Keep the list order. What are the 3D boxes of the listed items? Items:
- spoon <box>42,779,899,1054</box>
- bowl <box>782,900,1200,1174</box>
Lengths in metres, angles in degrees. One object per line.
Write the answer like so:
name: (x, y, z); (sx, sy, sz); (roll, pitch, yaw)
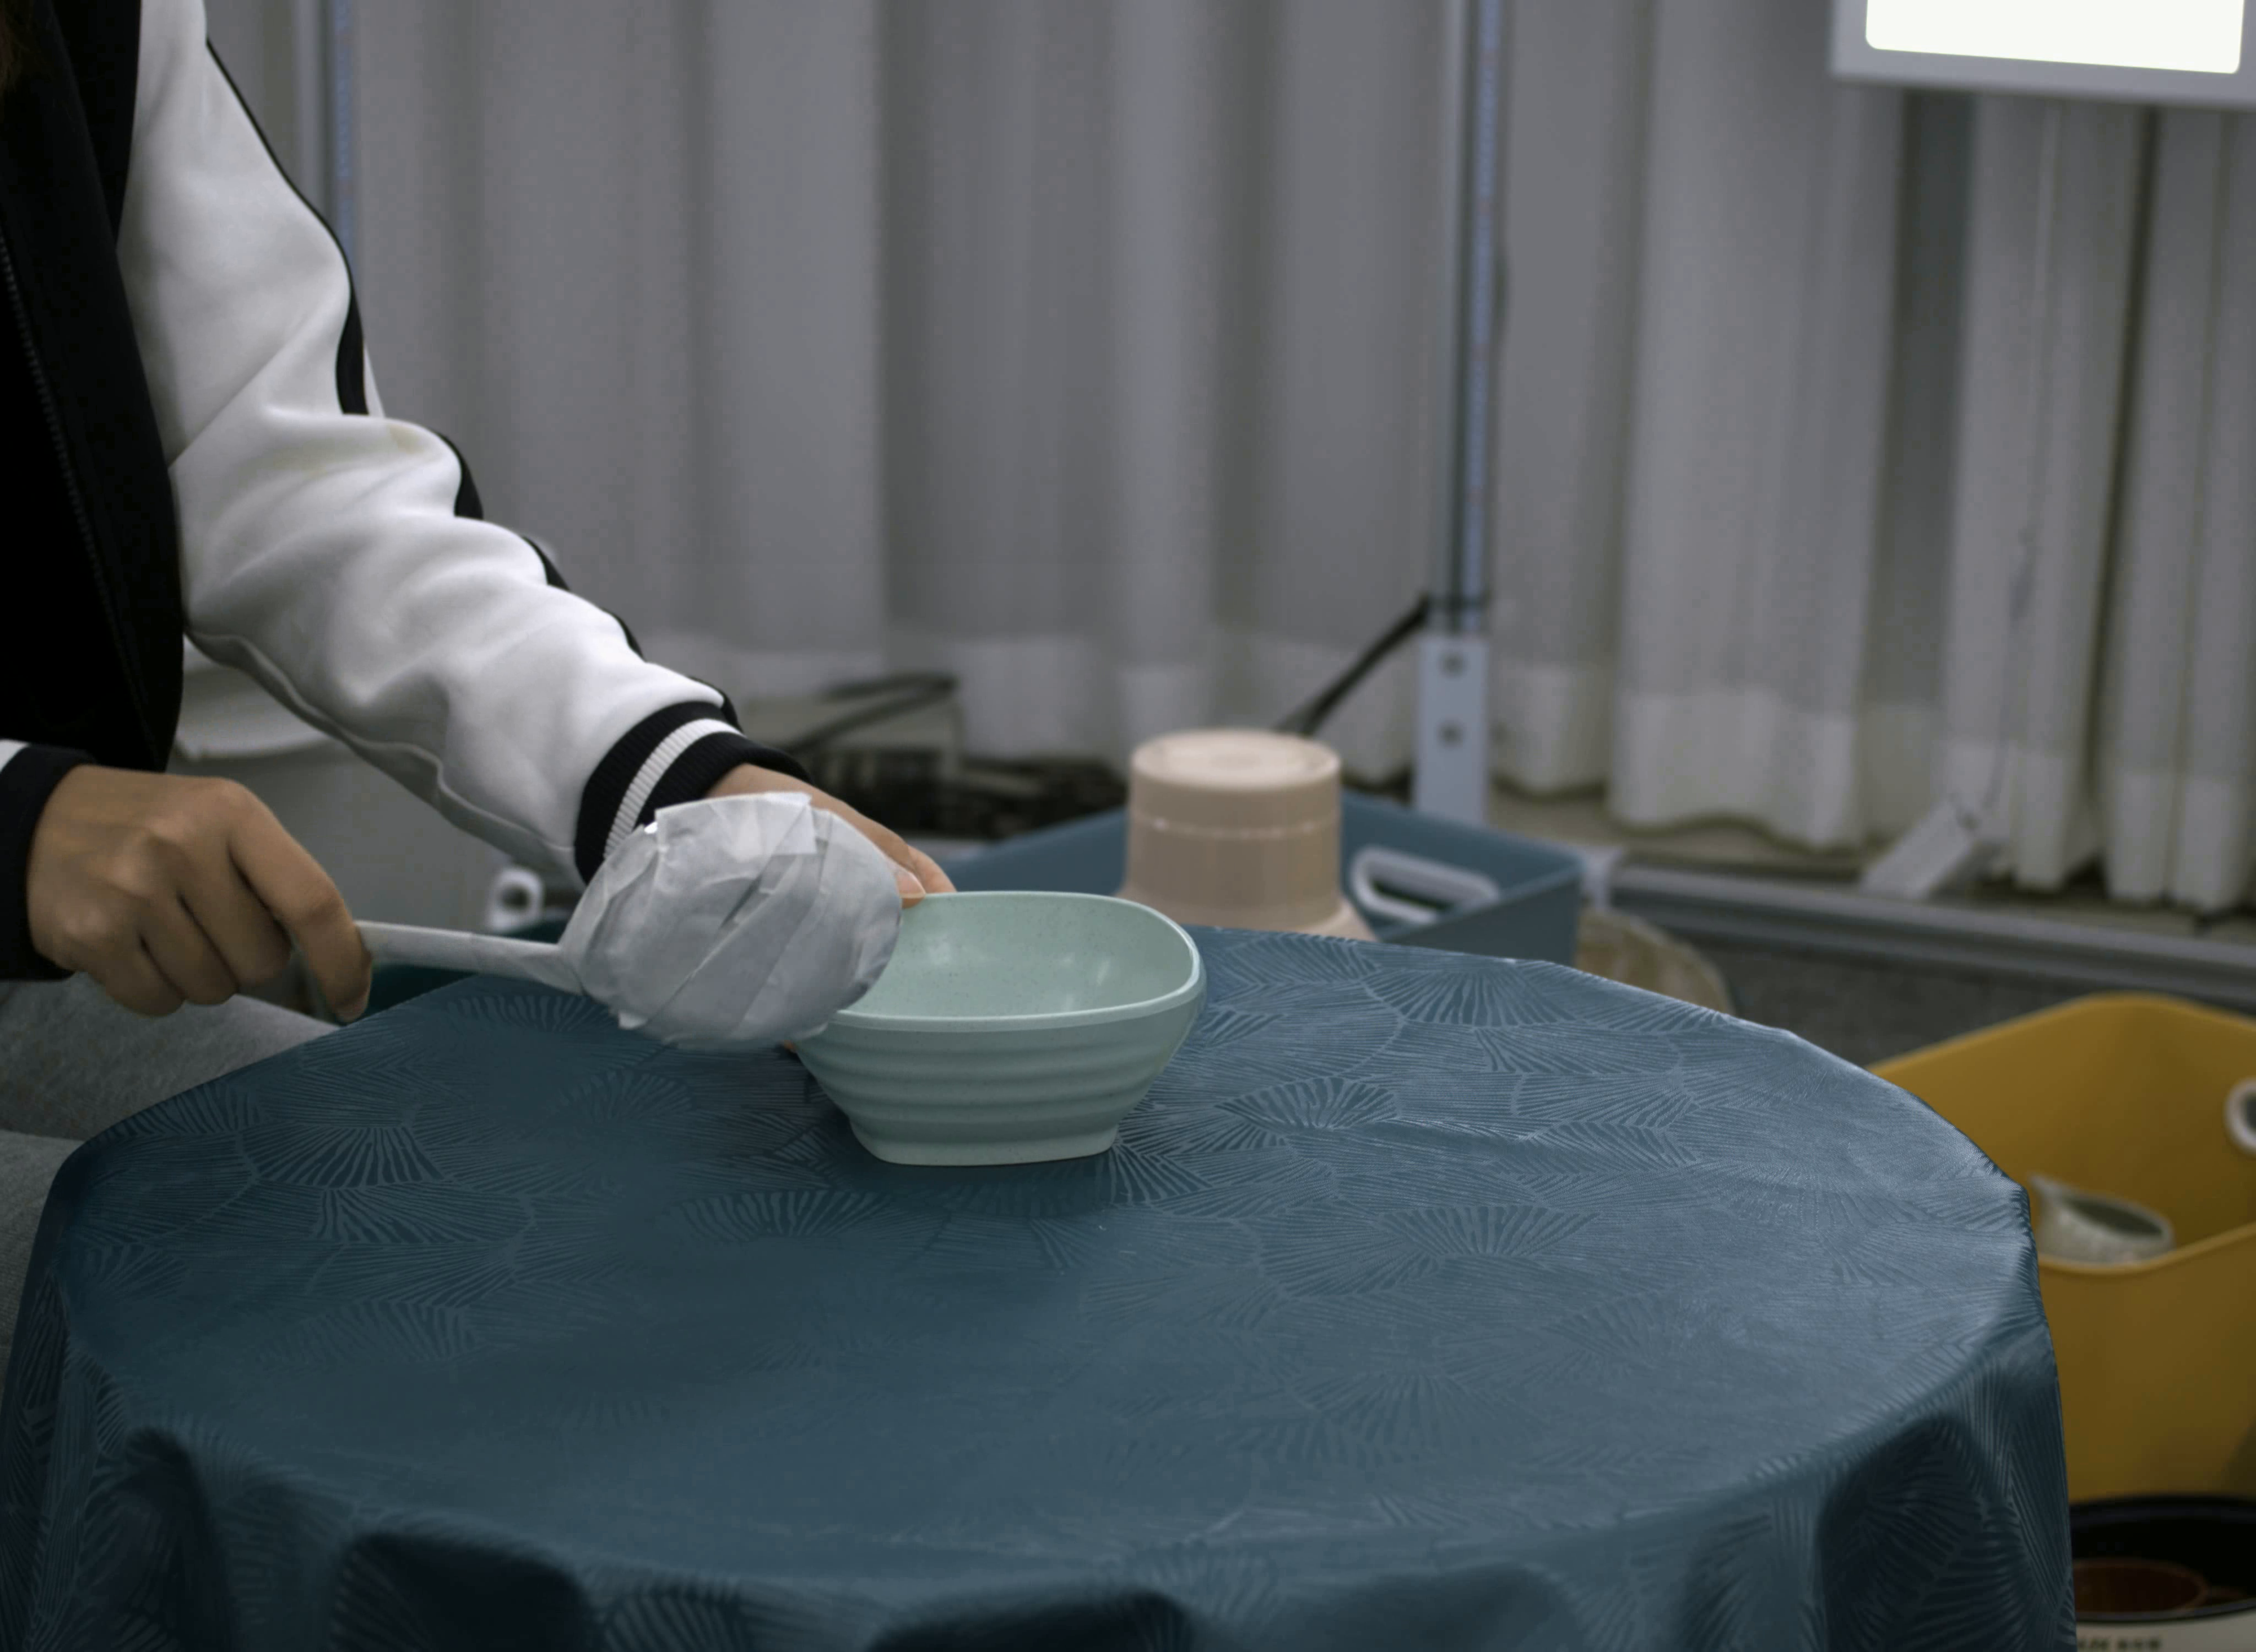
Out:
spoon: (-0.197, 0.023, 1.552); (0.274, 0.102, 0.059); (4, 40, 29)
bowl: (-0.047, 0.070, 1.674); (0.151, 0.059, 0.150); (1, 15, 0)
